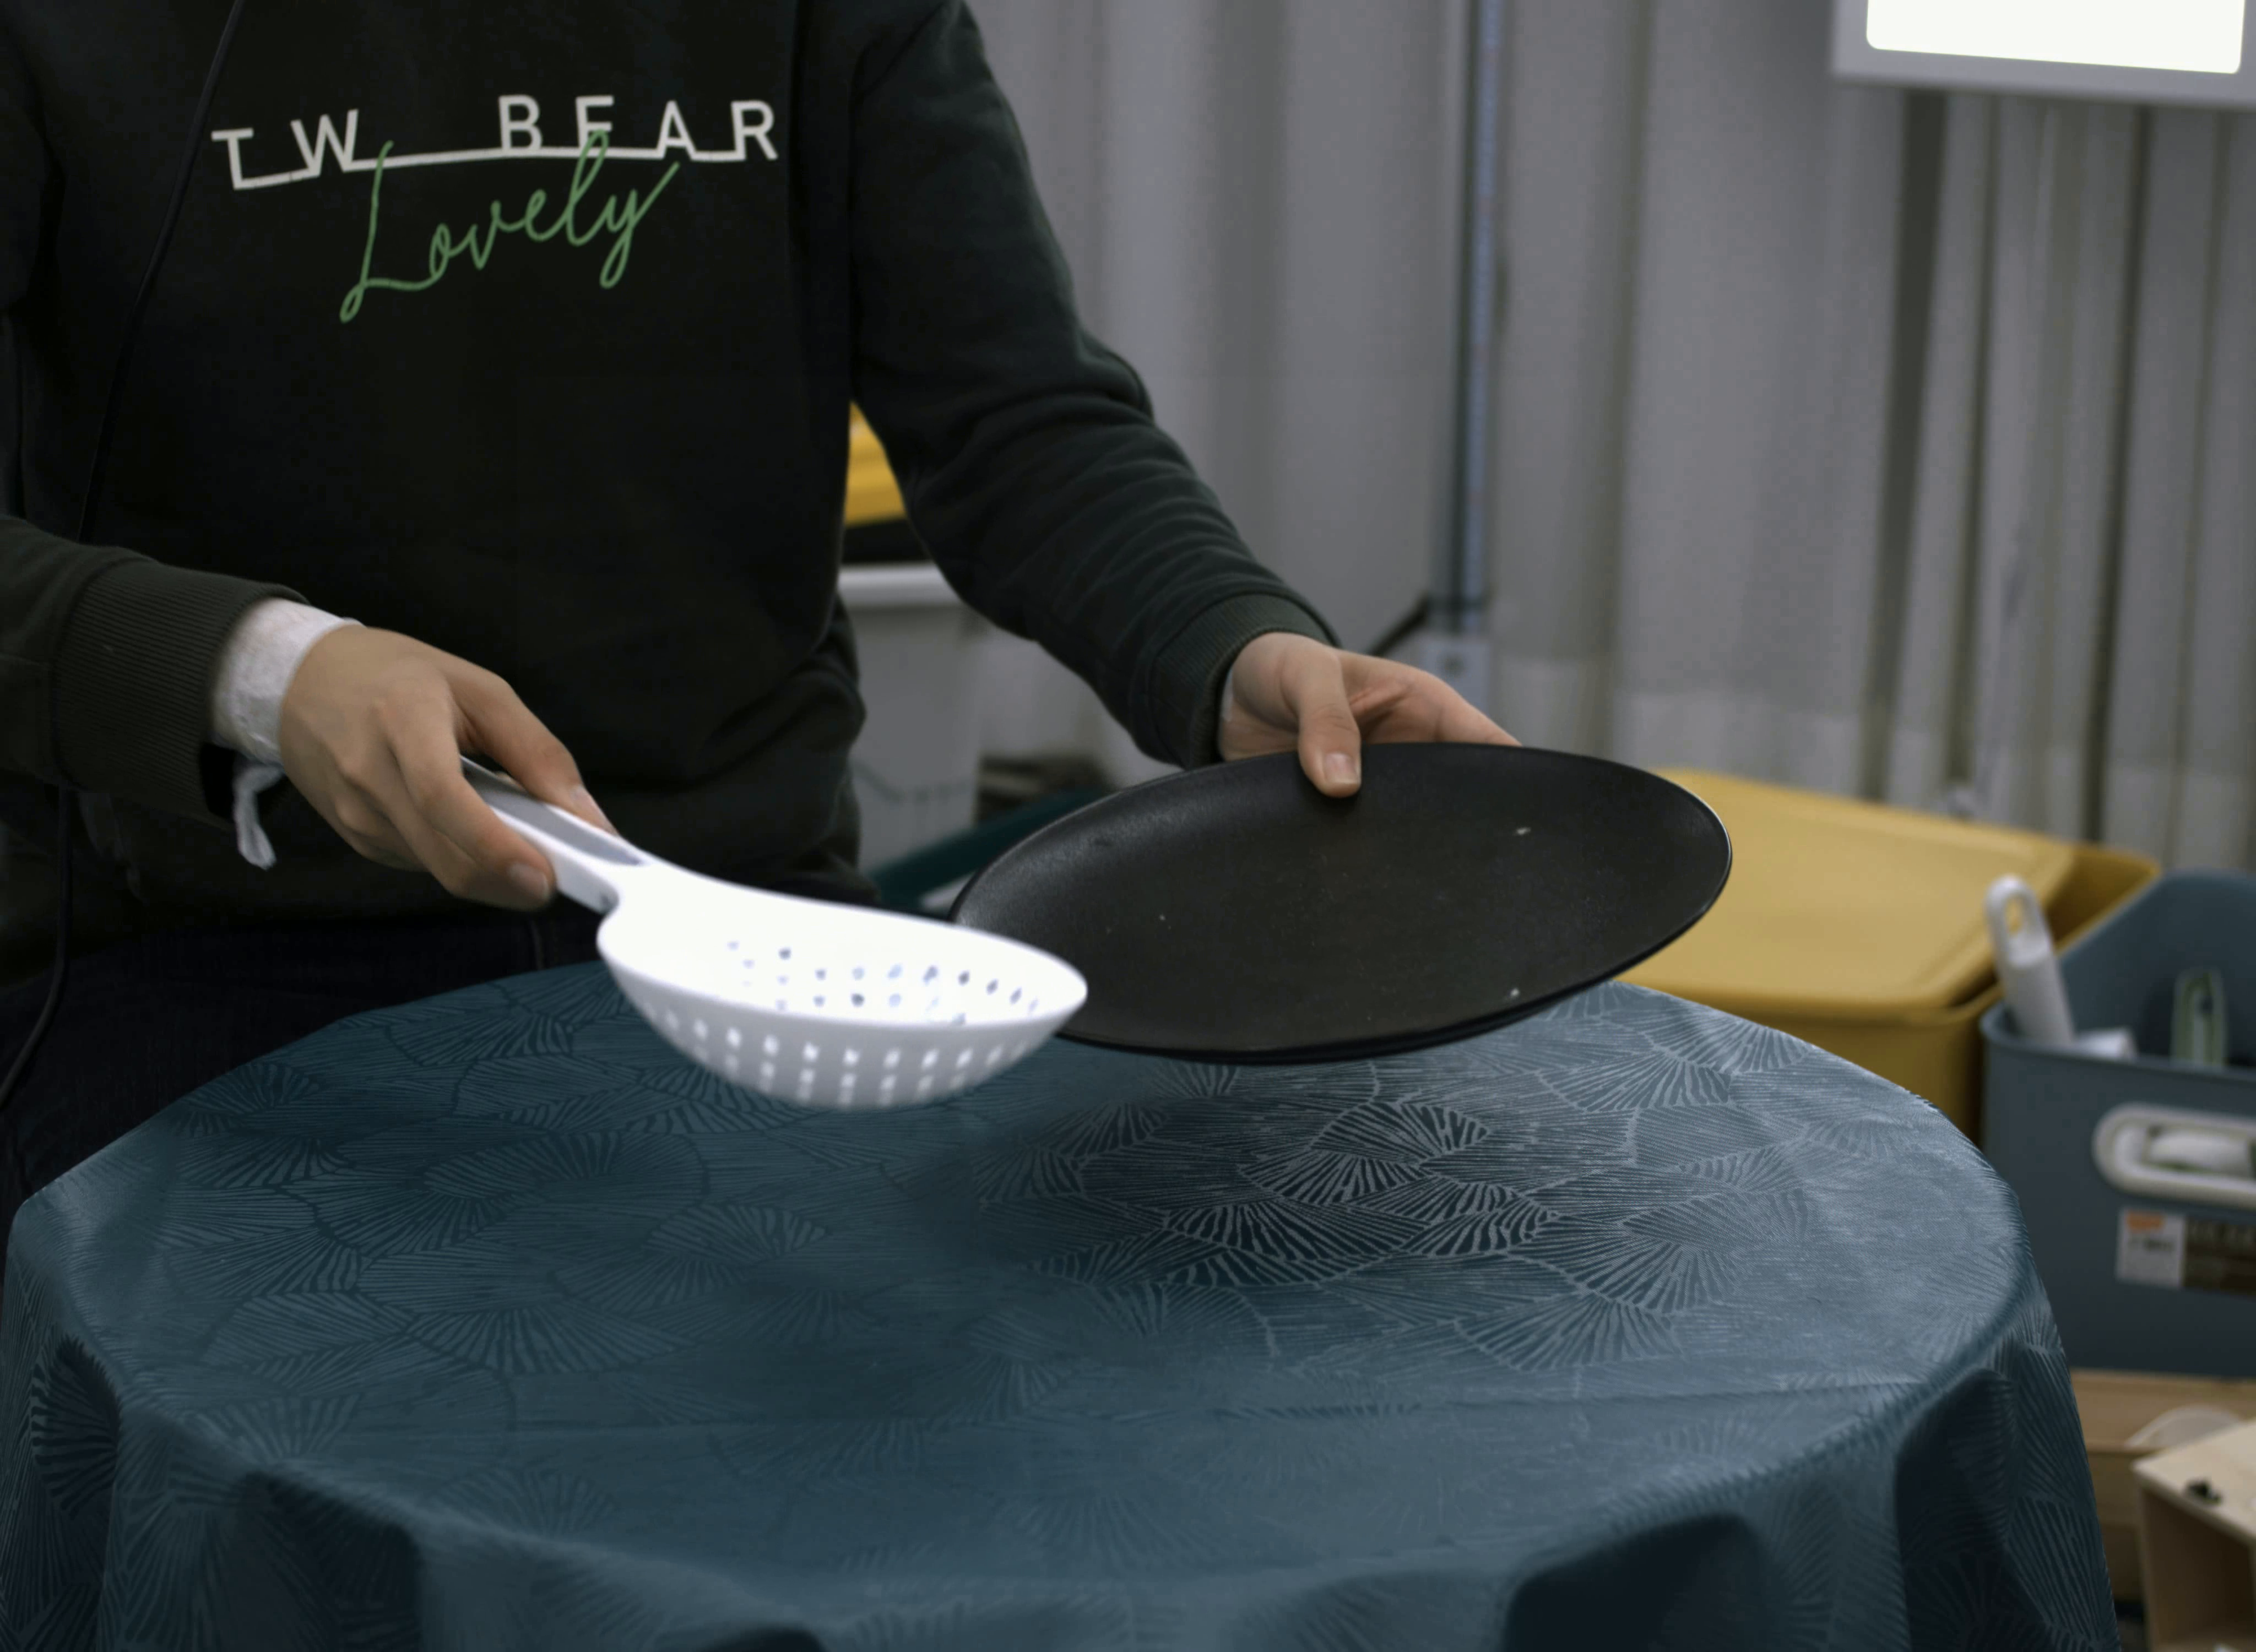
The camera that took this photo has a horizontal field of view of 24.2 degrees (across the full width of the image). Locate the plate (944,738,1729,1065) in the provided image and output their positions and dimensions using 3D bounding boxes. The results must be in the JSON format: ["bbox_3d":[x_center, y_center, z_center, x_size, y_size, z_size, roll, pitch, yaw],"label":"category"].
[{"bbox_3d":[0.065,0.026,1.621,0.243,0.023,0.243,-6,21,3],"label":"plate"}]

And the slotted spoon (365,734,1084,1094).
[{"bbox_3d":[-0.139,0.016,1.541,0.137,0.046,0.345,1,17,-35],"label":"slotted spoon"}]
